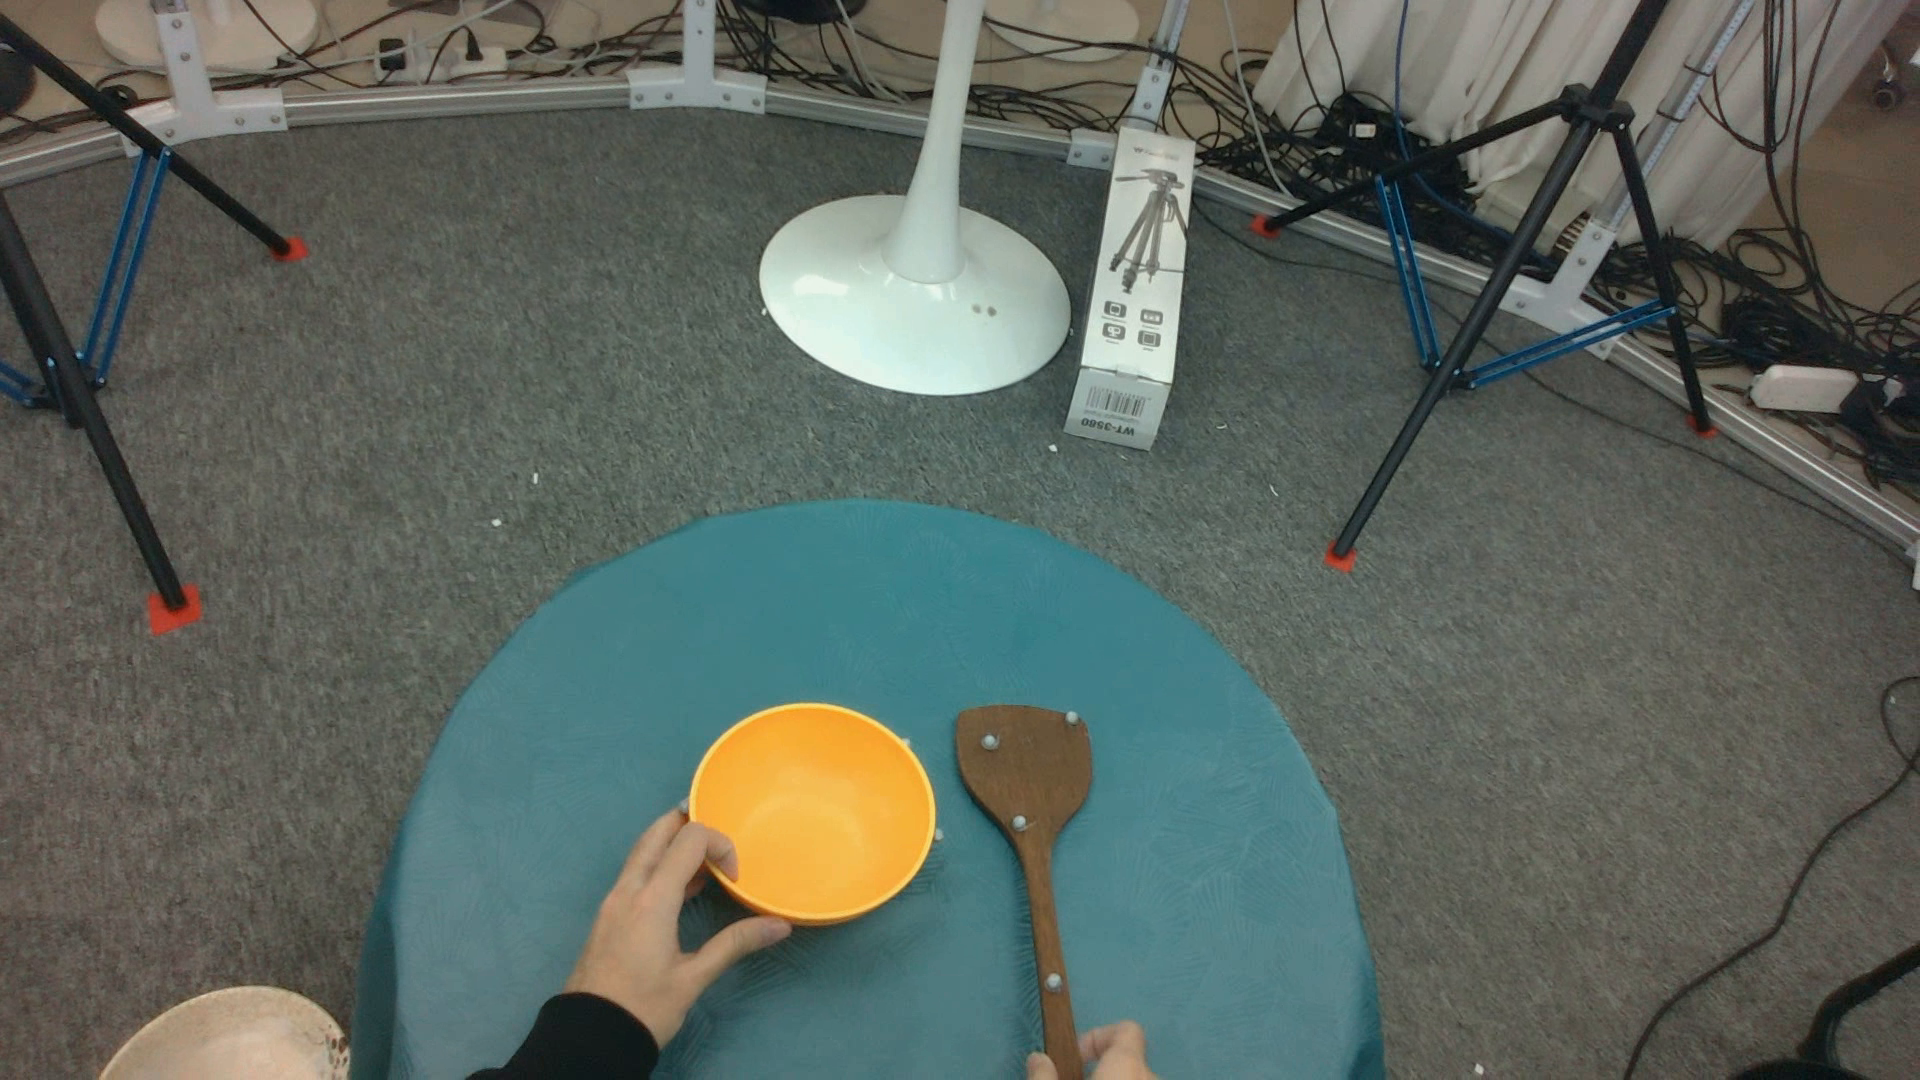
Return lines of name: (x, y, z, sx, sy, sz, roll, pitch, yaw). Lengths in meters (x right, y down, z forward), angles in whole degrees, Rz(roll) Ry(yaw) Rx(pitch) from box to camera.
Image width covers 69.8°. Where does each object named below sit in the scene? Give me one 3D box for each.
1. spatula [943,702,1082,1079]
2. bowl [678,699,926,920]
spatula: (0.047, 0.241, 0.809, 0.096, 0.015, 0.387, 5, 40, -10)
bowl: (-0.096, 0.171, 0.830, 0.145, 0.060, 0.146, 6, 48, -7)
